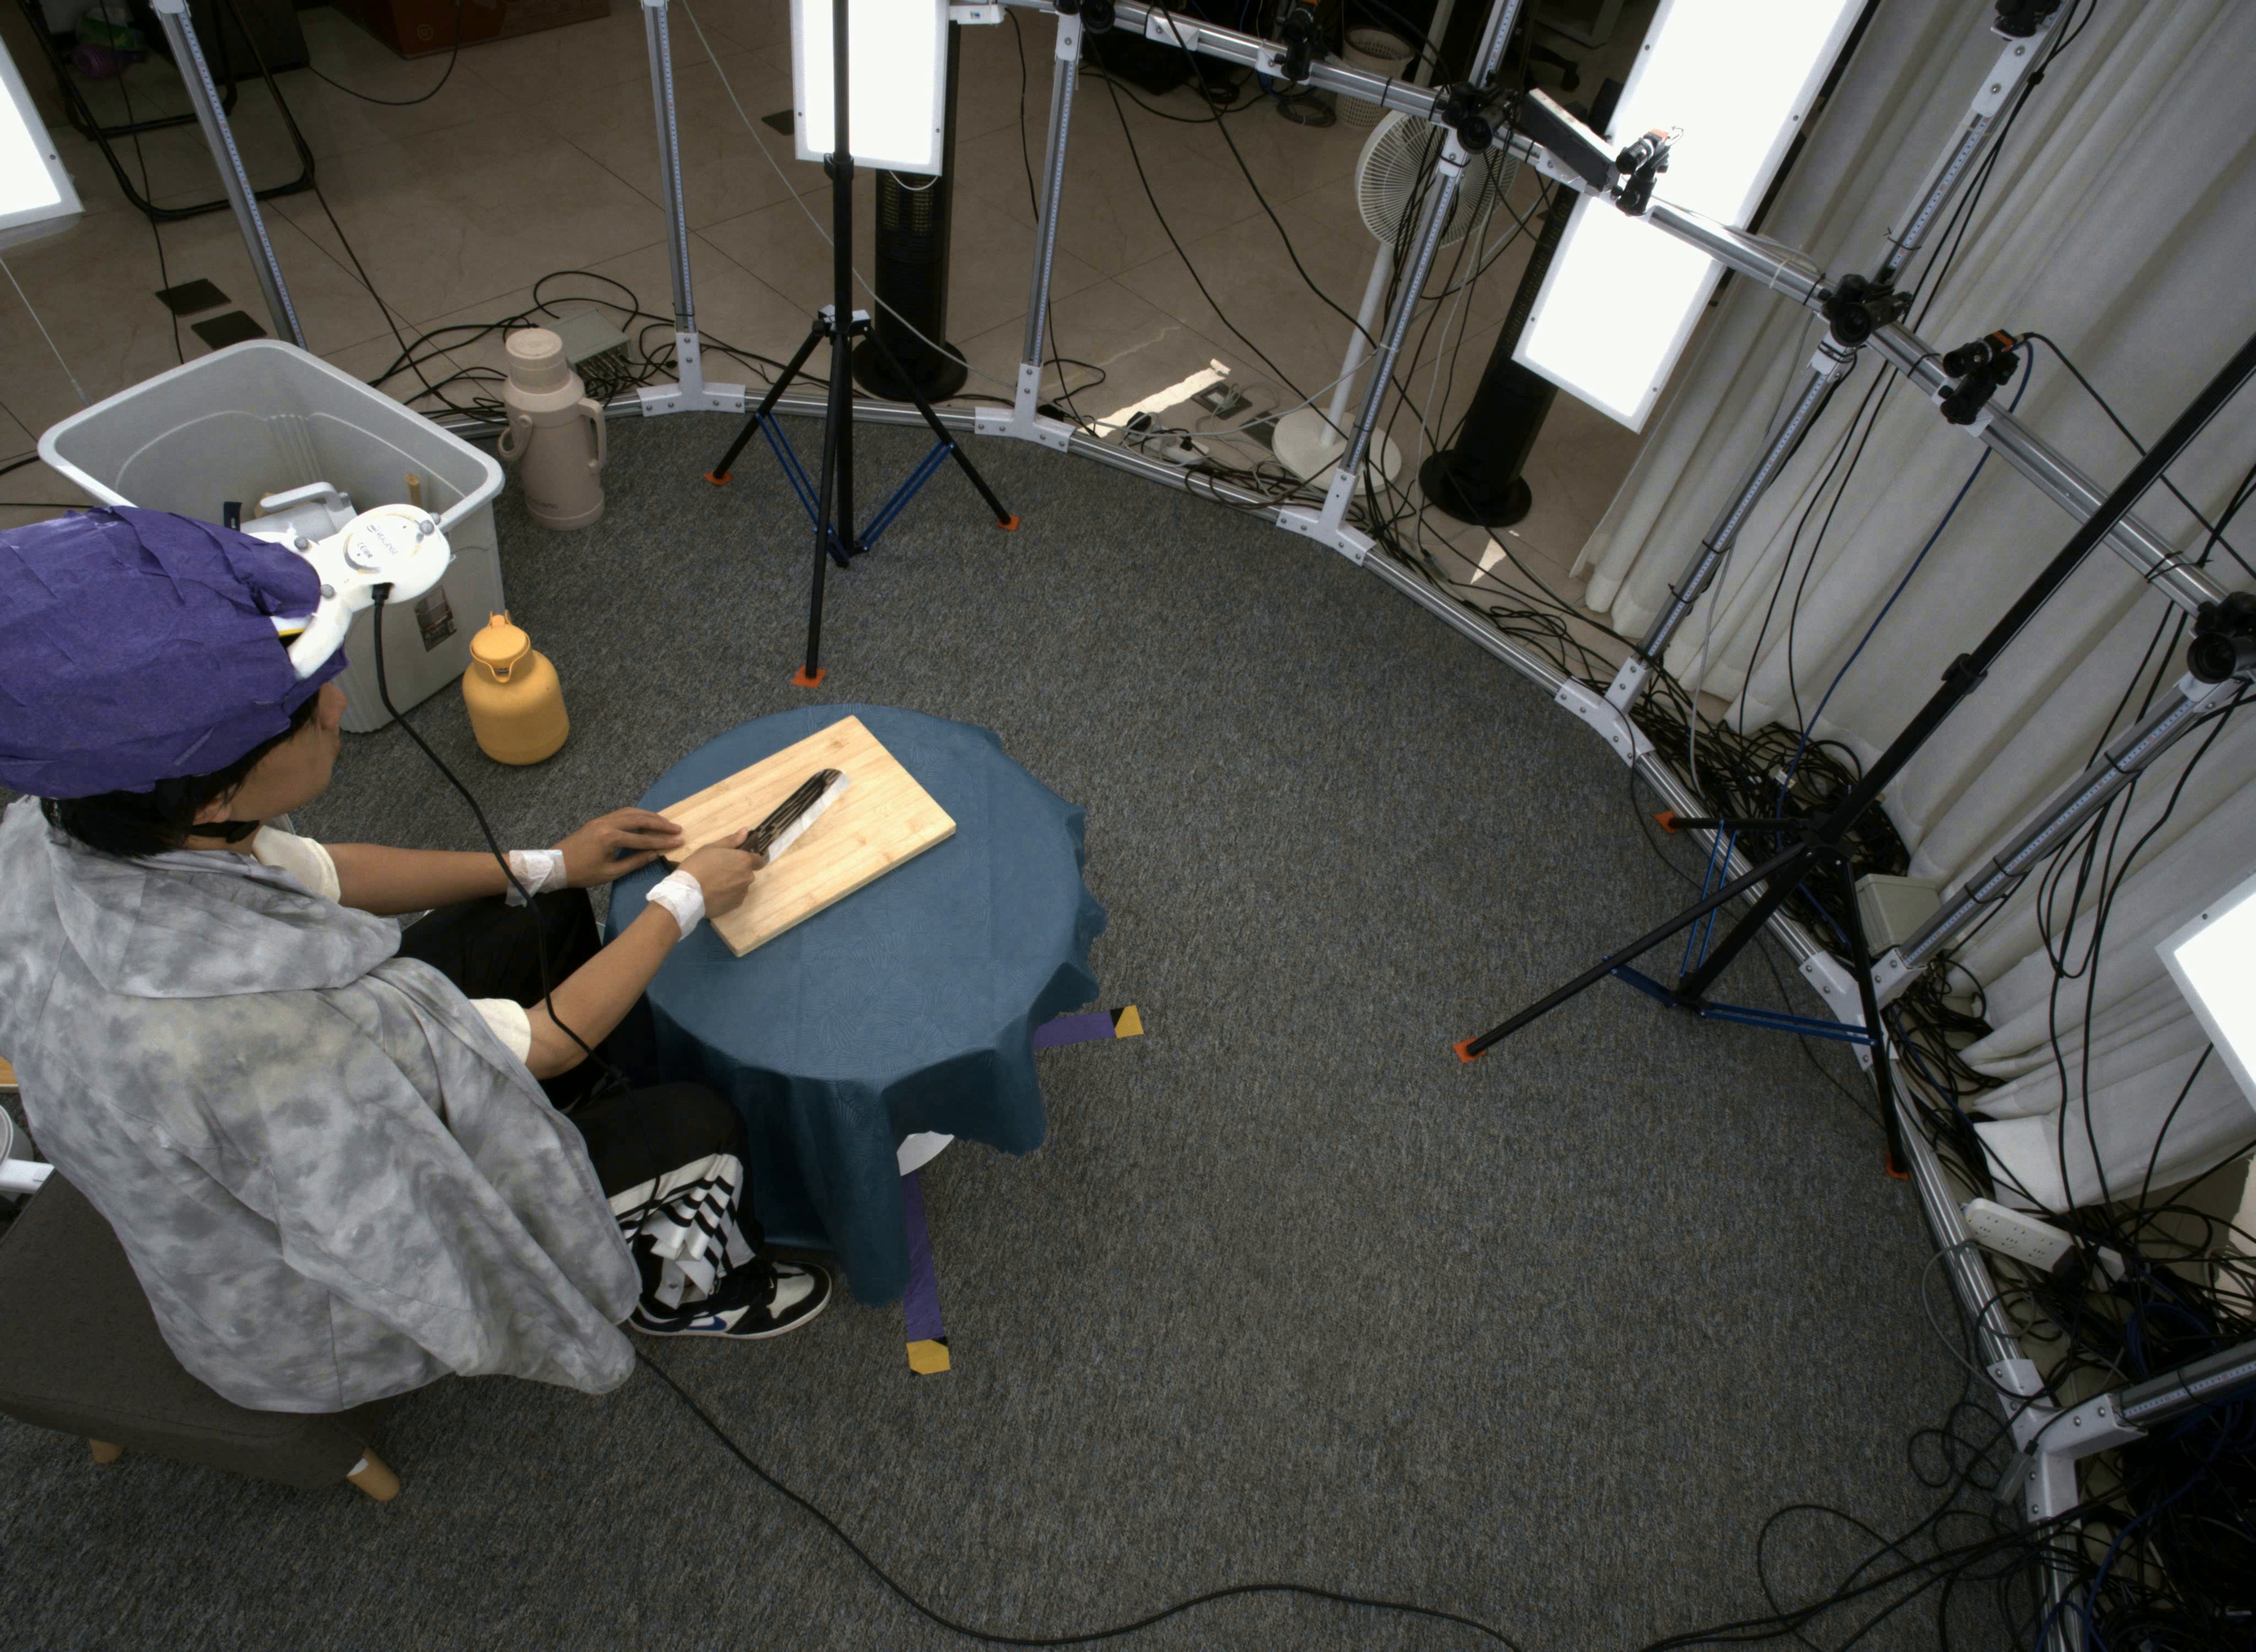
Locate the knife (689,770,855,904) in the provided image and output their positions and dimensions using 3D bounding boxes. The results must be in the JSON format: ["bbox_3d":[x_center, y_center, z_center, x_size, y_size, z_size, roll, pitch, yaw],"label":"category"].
[{"bbox_3d":[-0.443,0.014,1.640,0.023,0.070,0.298,20,47,22],"label":"knife"}]

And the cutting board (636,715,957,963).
[{"bbox_3d":[-0.431,0.006,1.710,0.349,0.024,0.245,-34,67,-32],"label":"cutting board"}]
